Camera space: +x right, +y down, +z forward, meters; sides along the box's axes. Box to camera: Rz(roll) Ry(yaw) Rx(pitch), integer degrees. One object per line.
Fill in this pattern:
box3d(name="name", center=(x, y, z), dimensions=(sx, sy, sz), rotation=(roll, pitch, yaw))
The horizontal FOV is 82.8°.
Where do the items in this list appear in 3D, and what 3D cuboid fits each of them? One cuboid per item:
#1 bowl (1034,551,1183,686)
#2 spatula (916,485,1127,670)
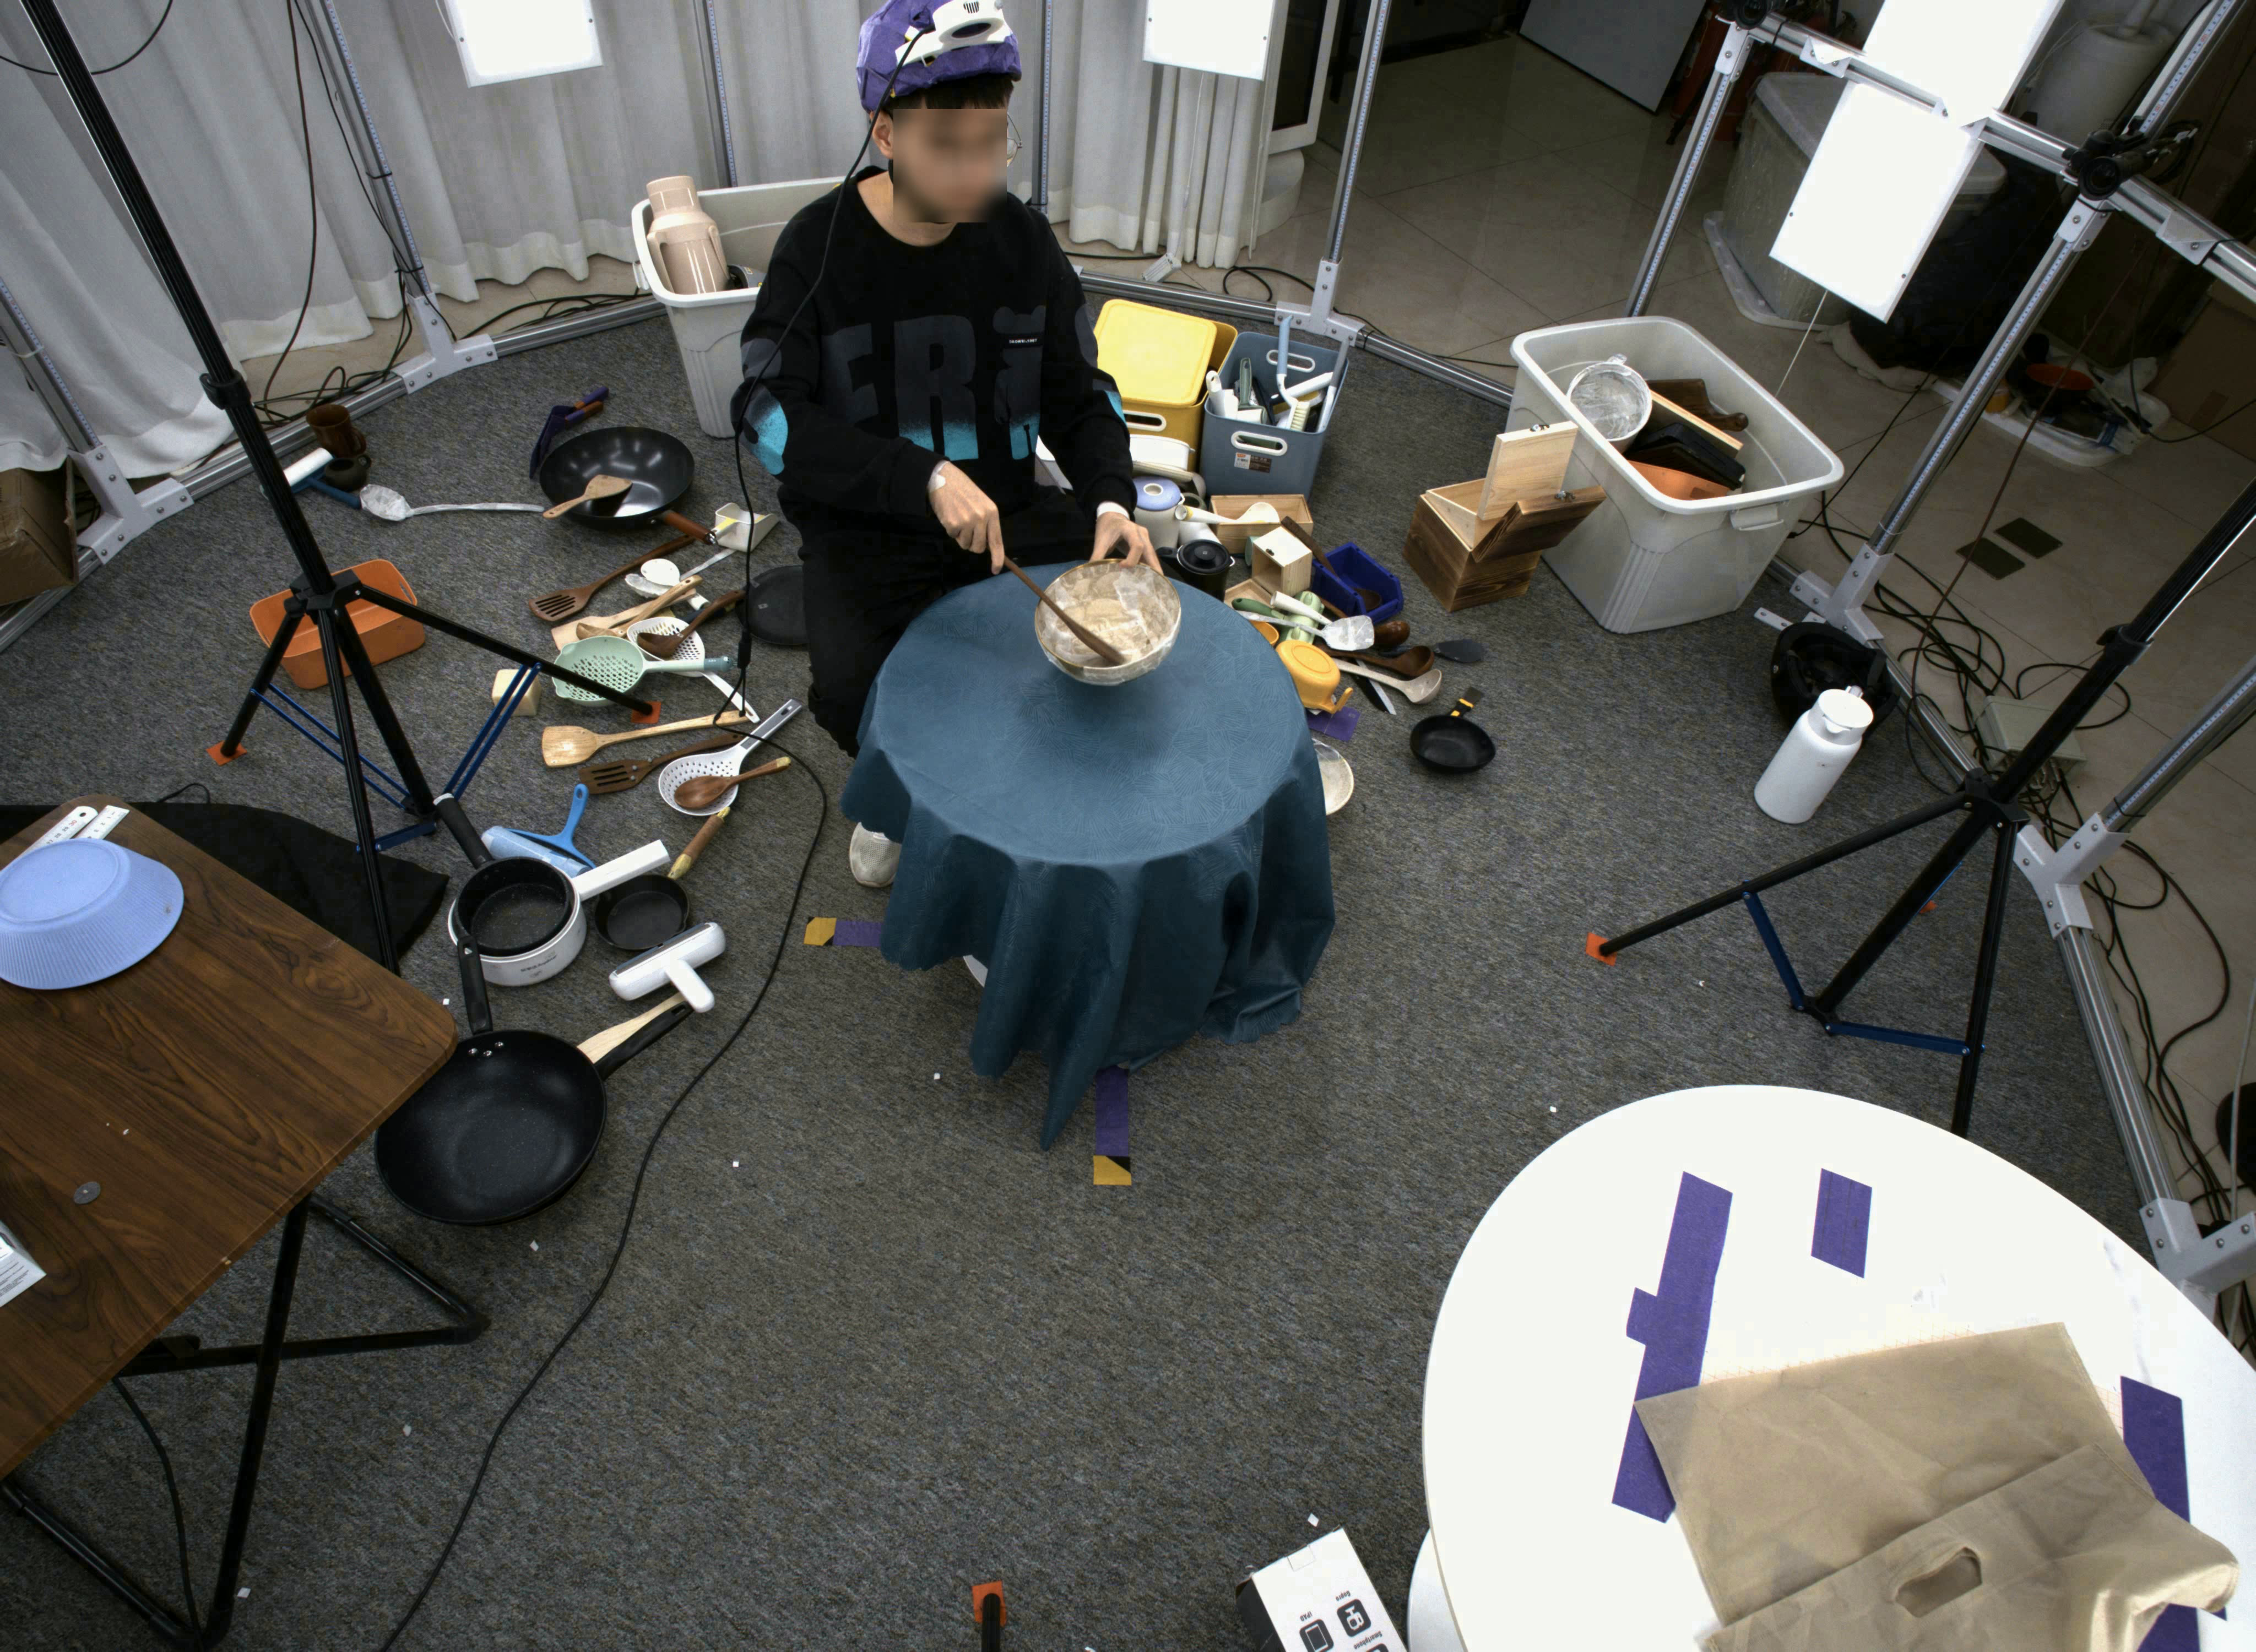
box3d(name="bowl", center=(-0.024, -0.276, 1.791), dimensions=(0.214, 0.092, 0.219), rotation=(-2, 62, 3))
box3d(name="spatula", center=(-0.145, -0.342, 1.780), dimensions=(0.386, 0.016, 0.096), rotation=(42, 10, 1))
